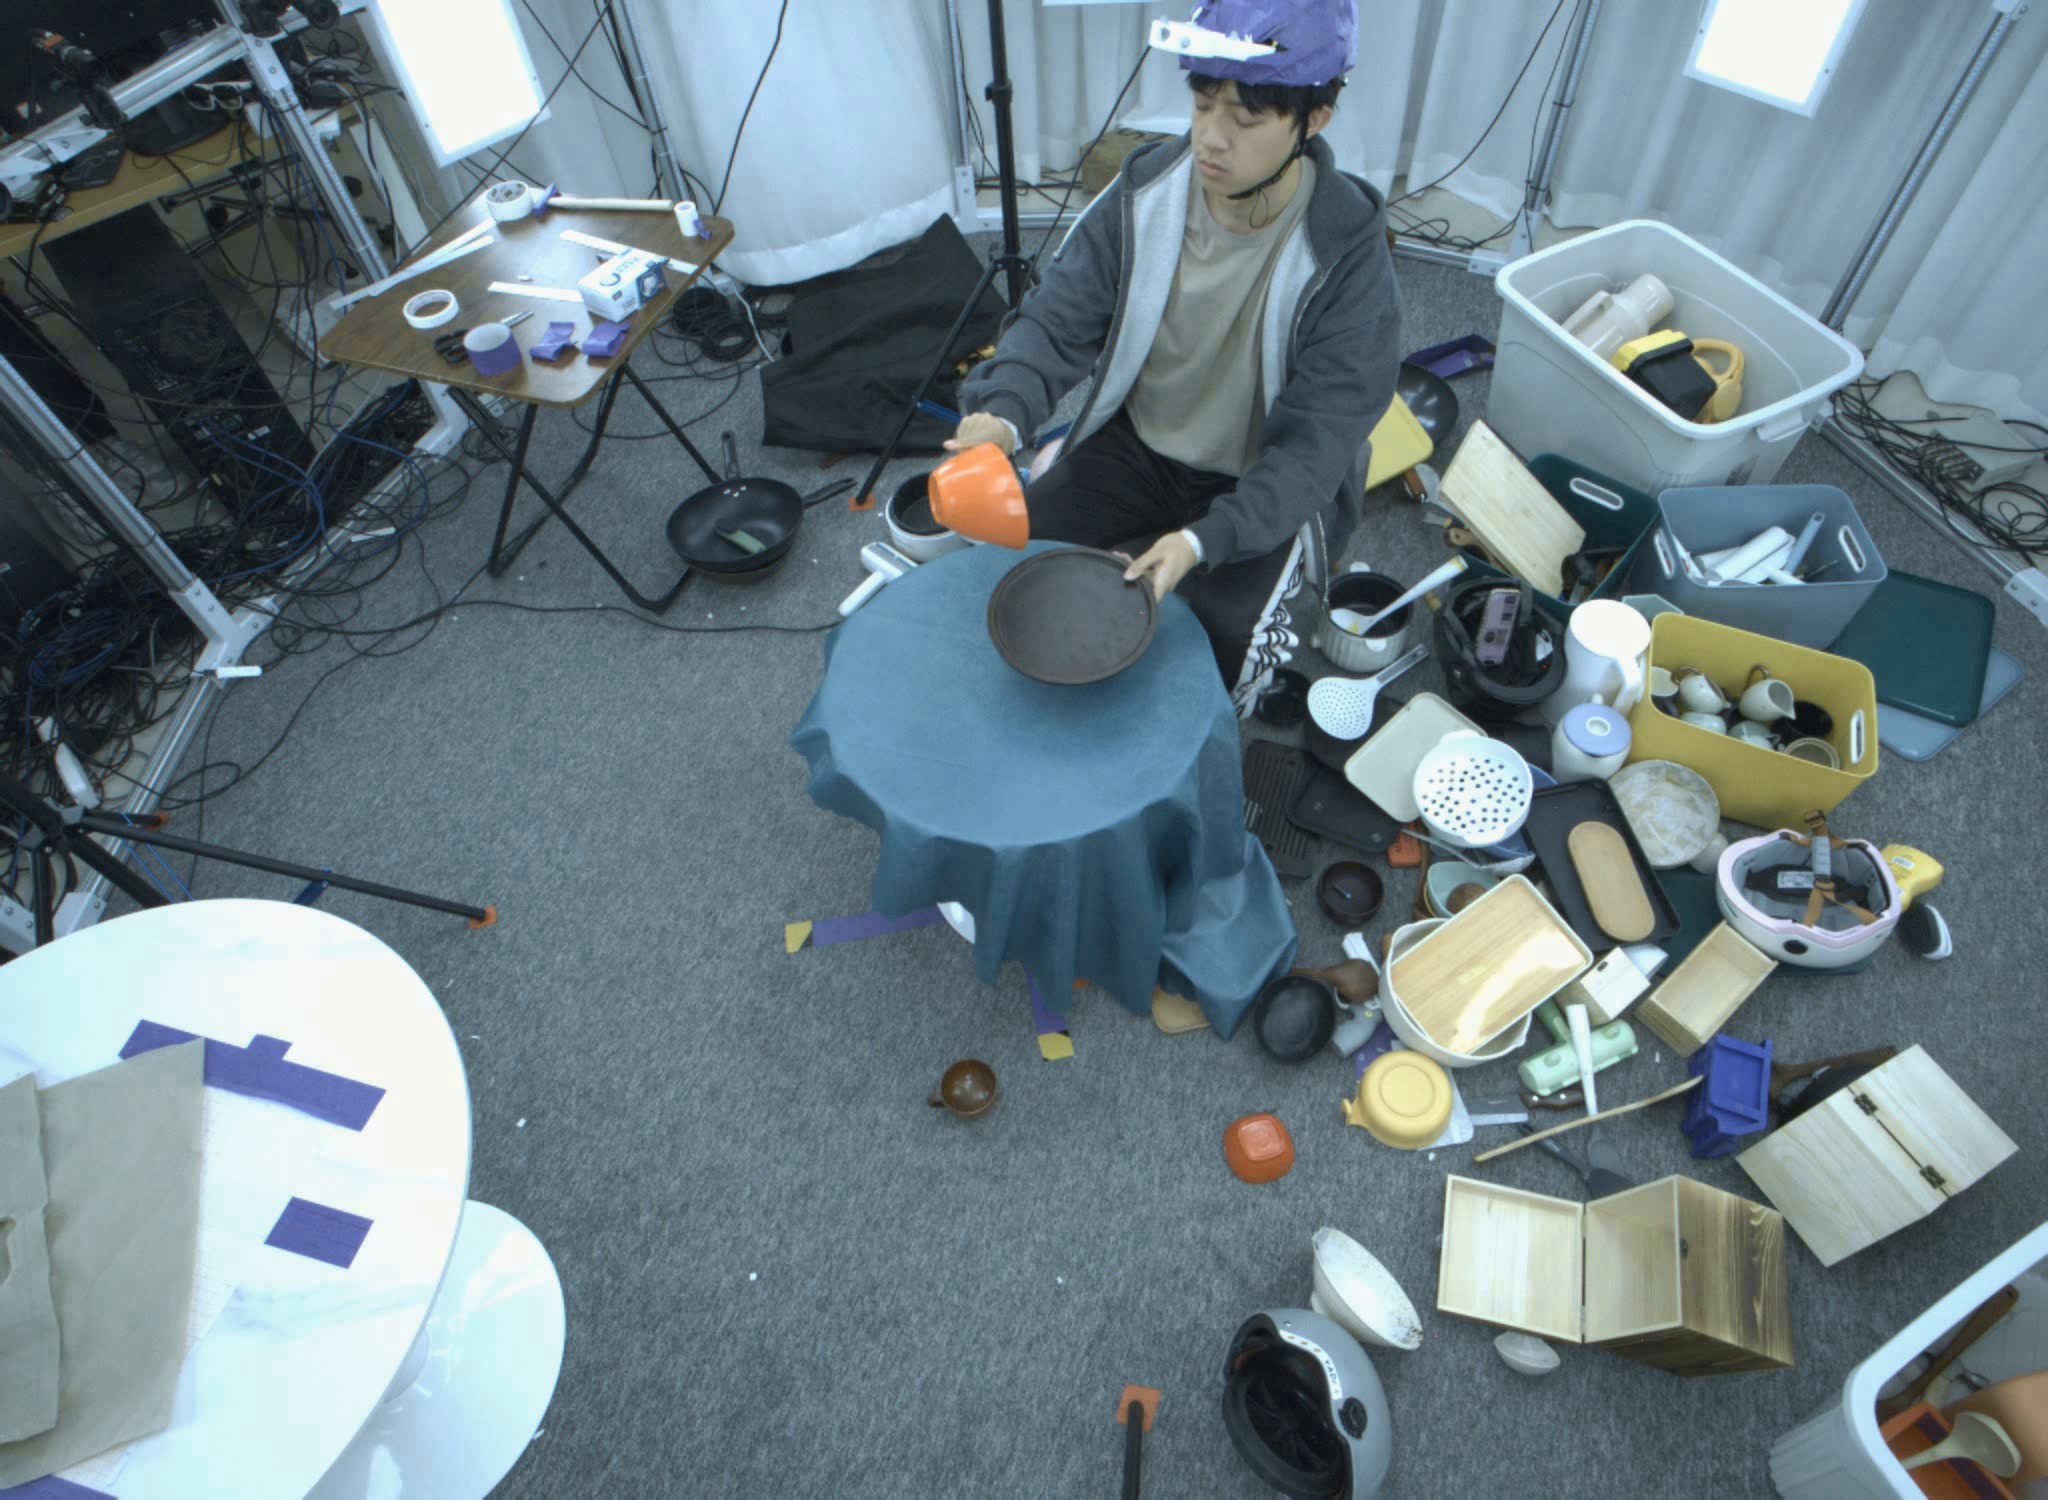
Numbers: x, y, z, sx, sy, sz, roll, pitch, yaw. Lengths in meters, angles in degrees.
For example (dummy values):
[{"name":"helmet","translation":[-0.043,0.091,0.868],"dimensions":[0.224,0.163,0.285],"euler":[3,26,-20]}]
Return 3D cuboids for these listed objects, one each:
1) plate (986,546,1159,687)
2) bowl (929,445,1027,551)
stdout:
[{"name":"plate","translation":[0.070,-0.197,1.806],"dimensions":[0.254,0.029,0.252],"euler":[-1,59,3]},{"name":"bowl","translation":[-0.068,-0.329,1.619],"dimensions":[0.105,0.149,0.145],"euler":[-12,55,-14]}]
